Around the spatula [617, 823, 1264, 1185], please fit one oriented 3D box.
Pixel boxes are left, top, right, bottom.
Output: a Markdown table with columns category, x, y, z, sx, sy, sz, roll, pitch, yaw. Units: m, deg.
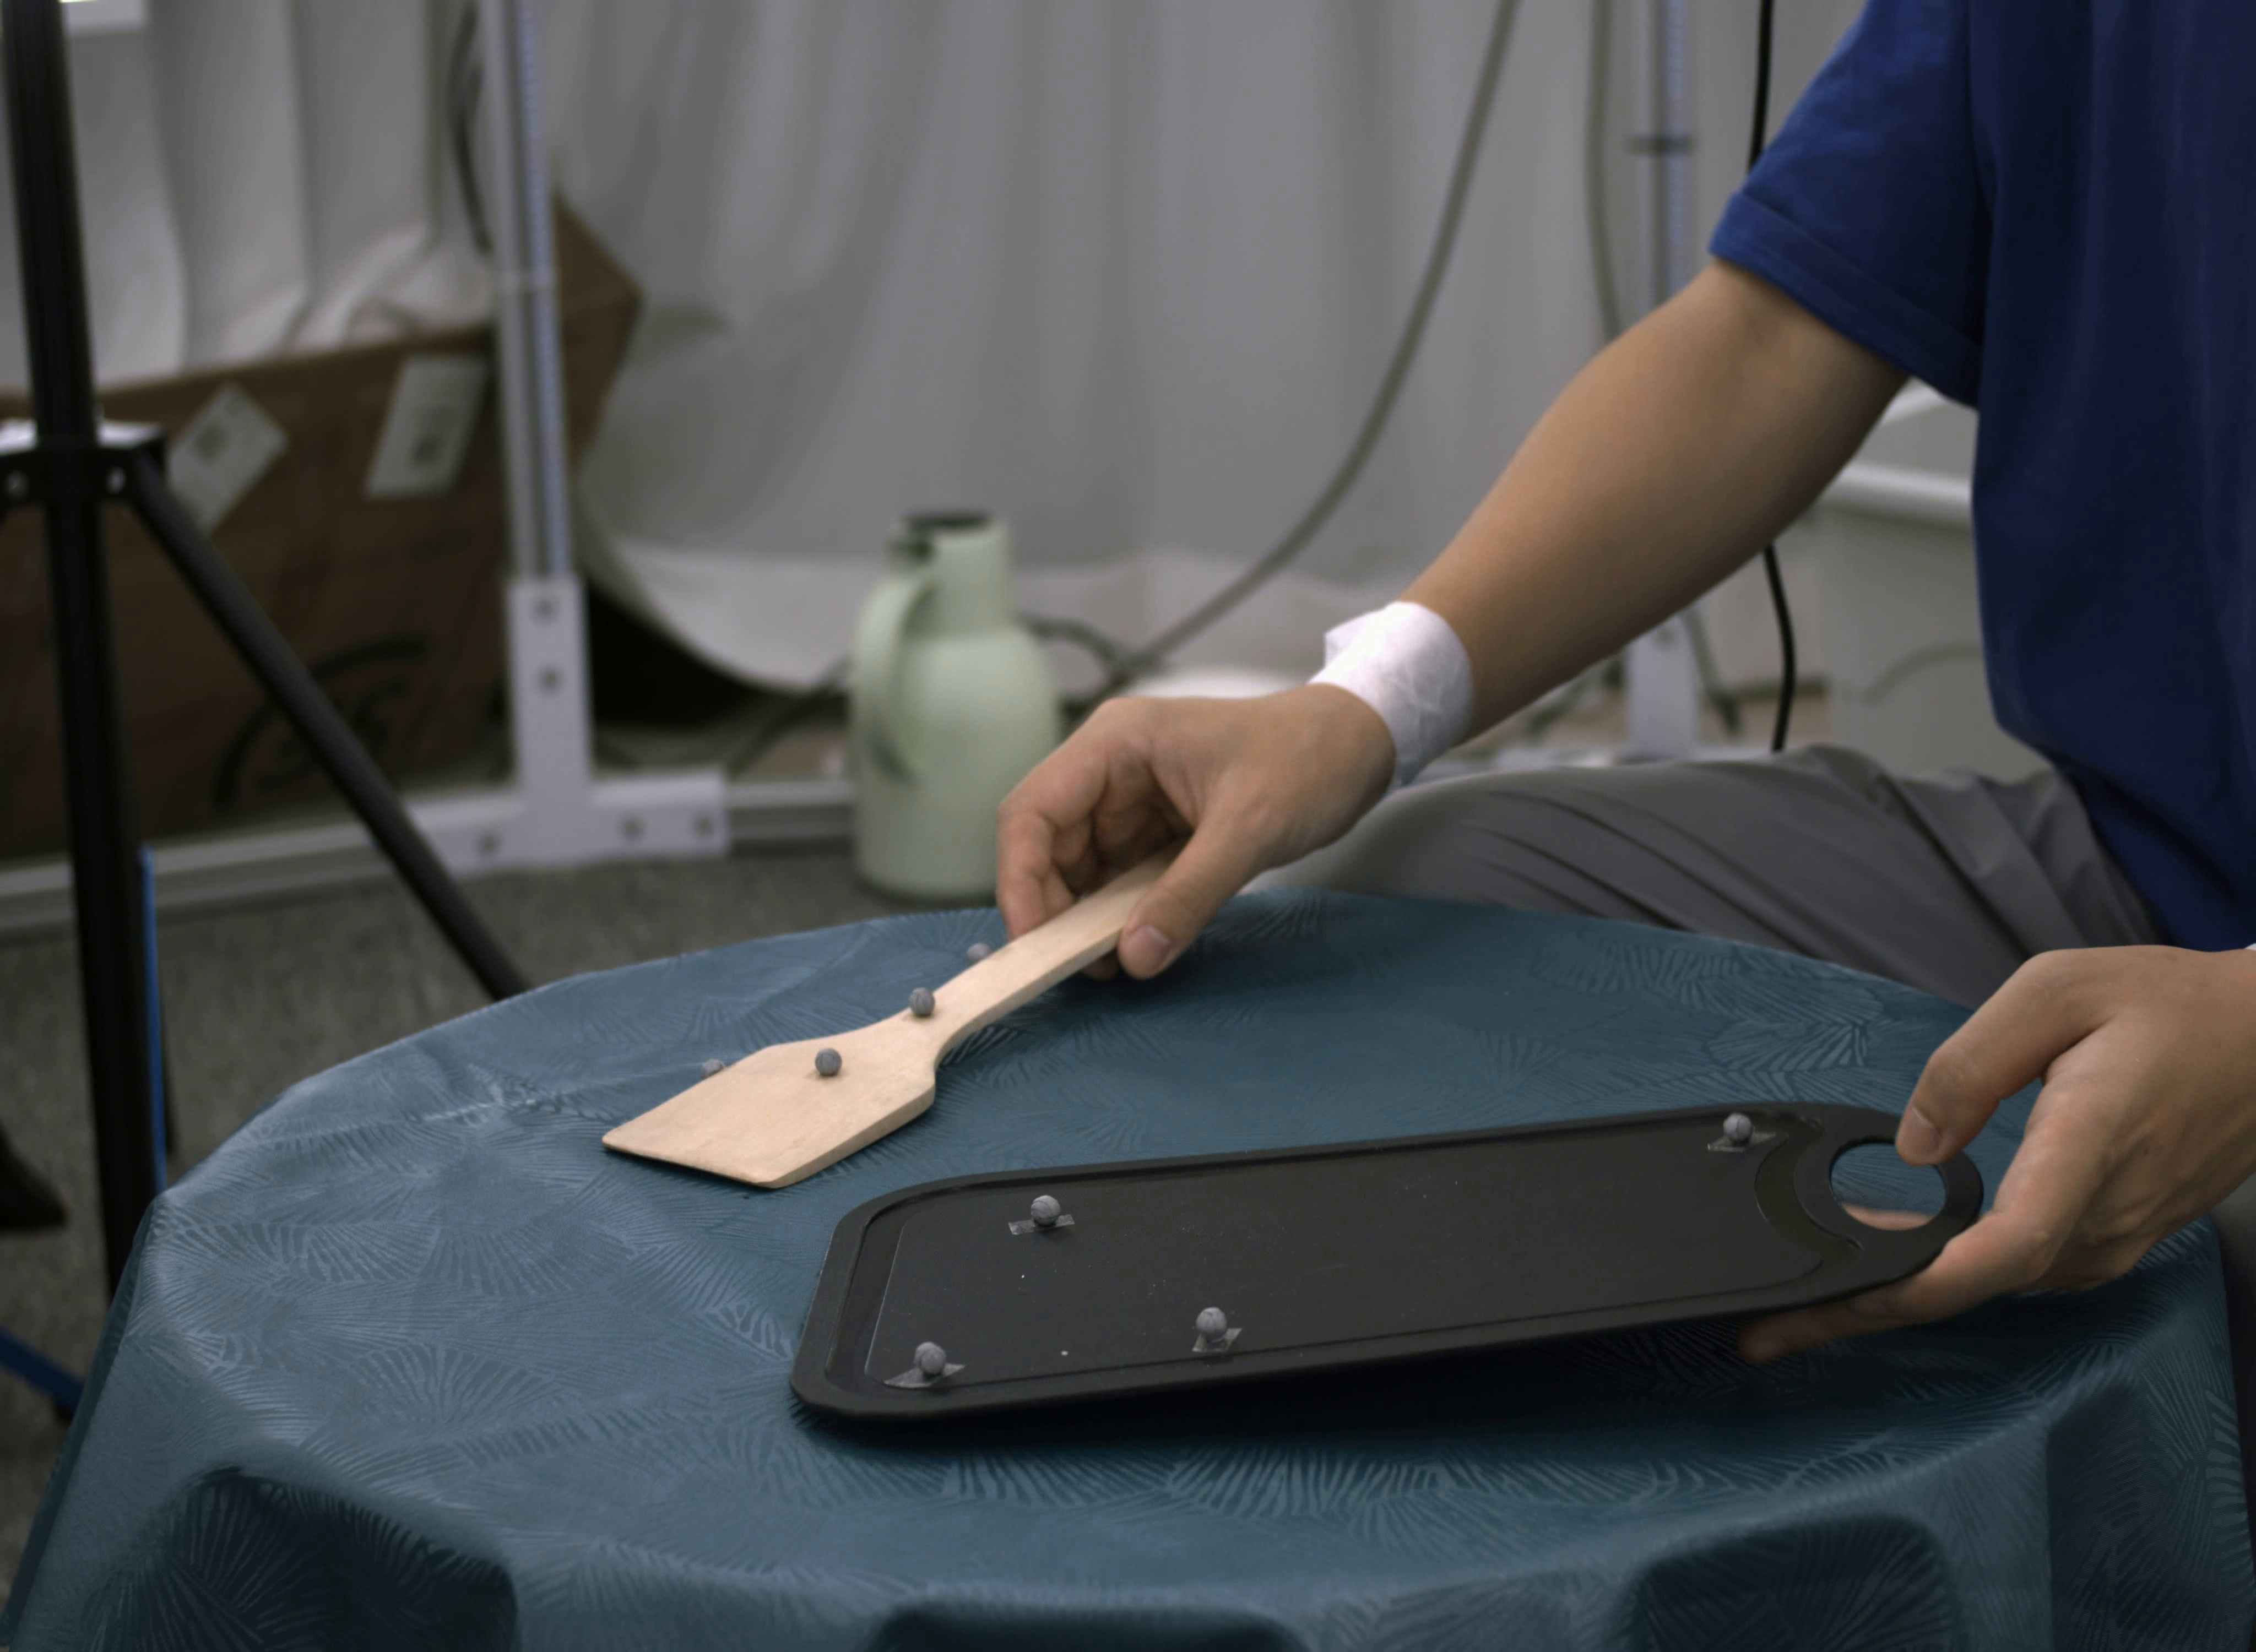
| category | x | y | z | sx | sy | sz | roll | pitch | yaw |
| --- | --- | --- | --- | --- | --- | --- | --- | --- | --- |
| spatula | -0.047 | 0.052 | 1.700 | 0.074 | 0.010 | 0.288 | 9 | 26 | 36 |

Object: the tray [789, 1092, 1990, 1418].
| category | x | y | z | sx | sy | sz | roll | pitch | yaw |
| --- | --- | --- | --- | --- | --- | --- | --- | --- | --- |
| tray | 0.073 | 0.113 | 1.455 | 0.325 | 0.010 | 0.211 | -6 | 13 | 6 |
